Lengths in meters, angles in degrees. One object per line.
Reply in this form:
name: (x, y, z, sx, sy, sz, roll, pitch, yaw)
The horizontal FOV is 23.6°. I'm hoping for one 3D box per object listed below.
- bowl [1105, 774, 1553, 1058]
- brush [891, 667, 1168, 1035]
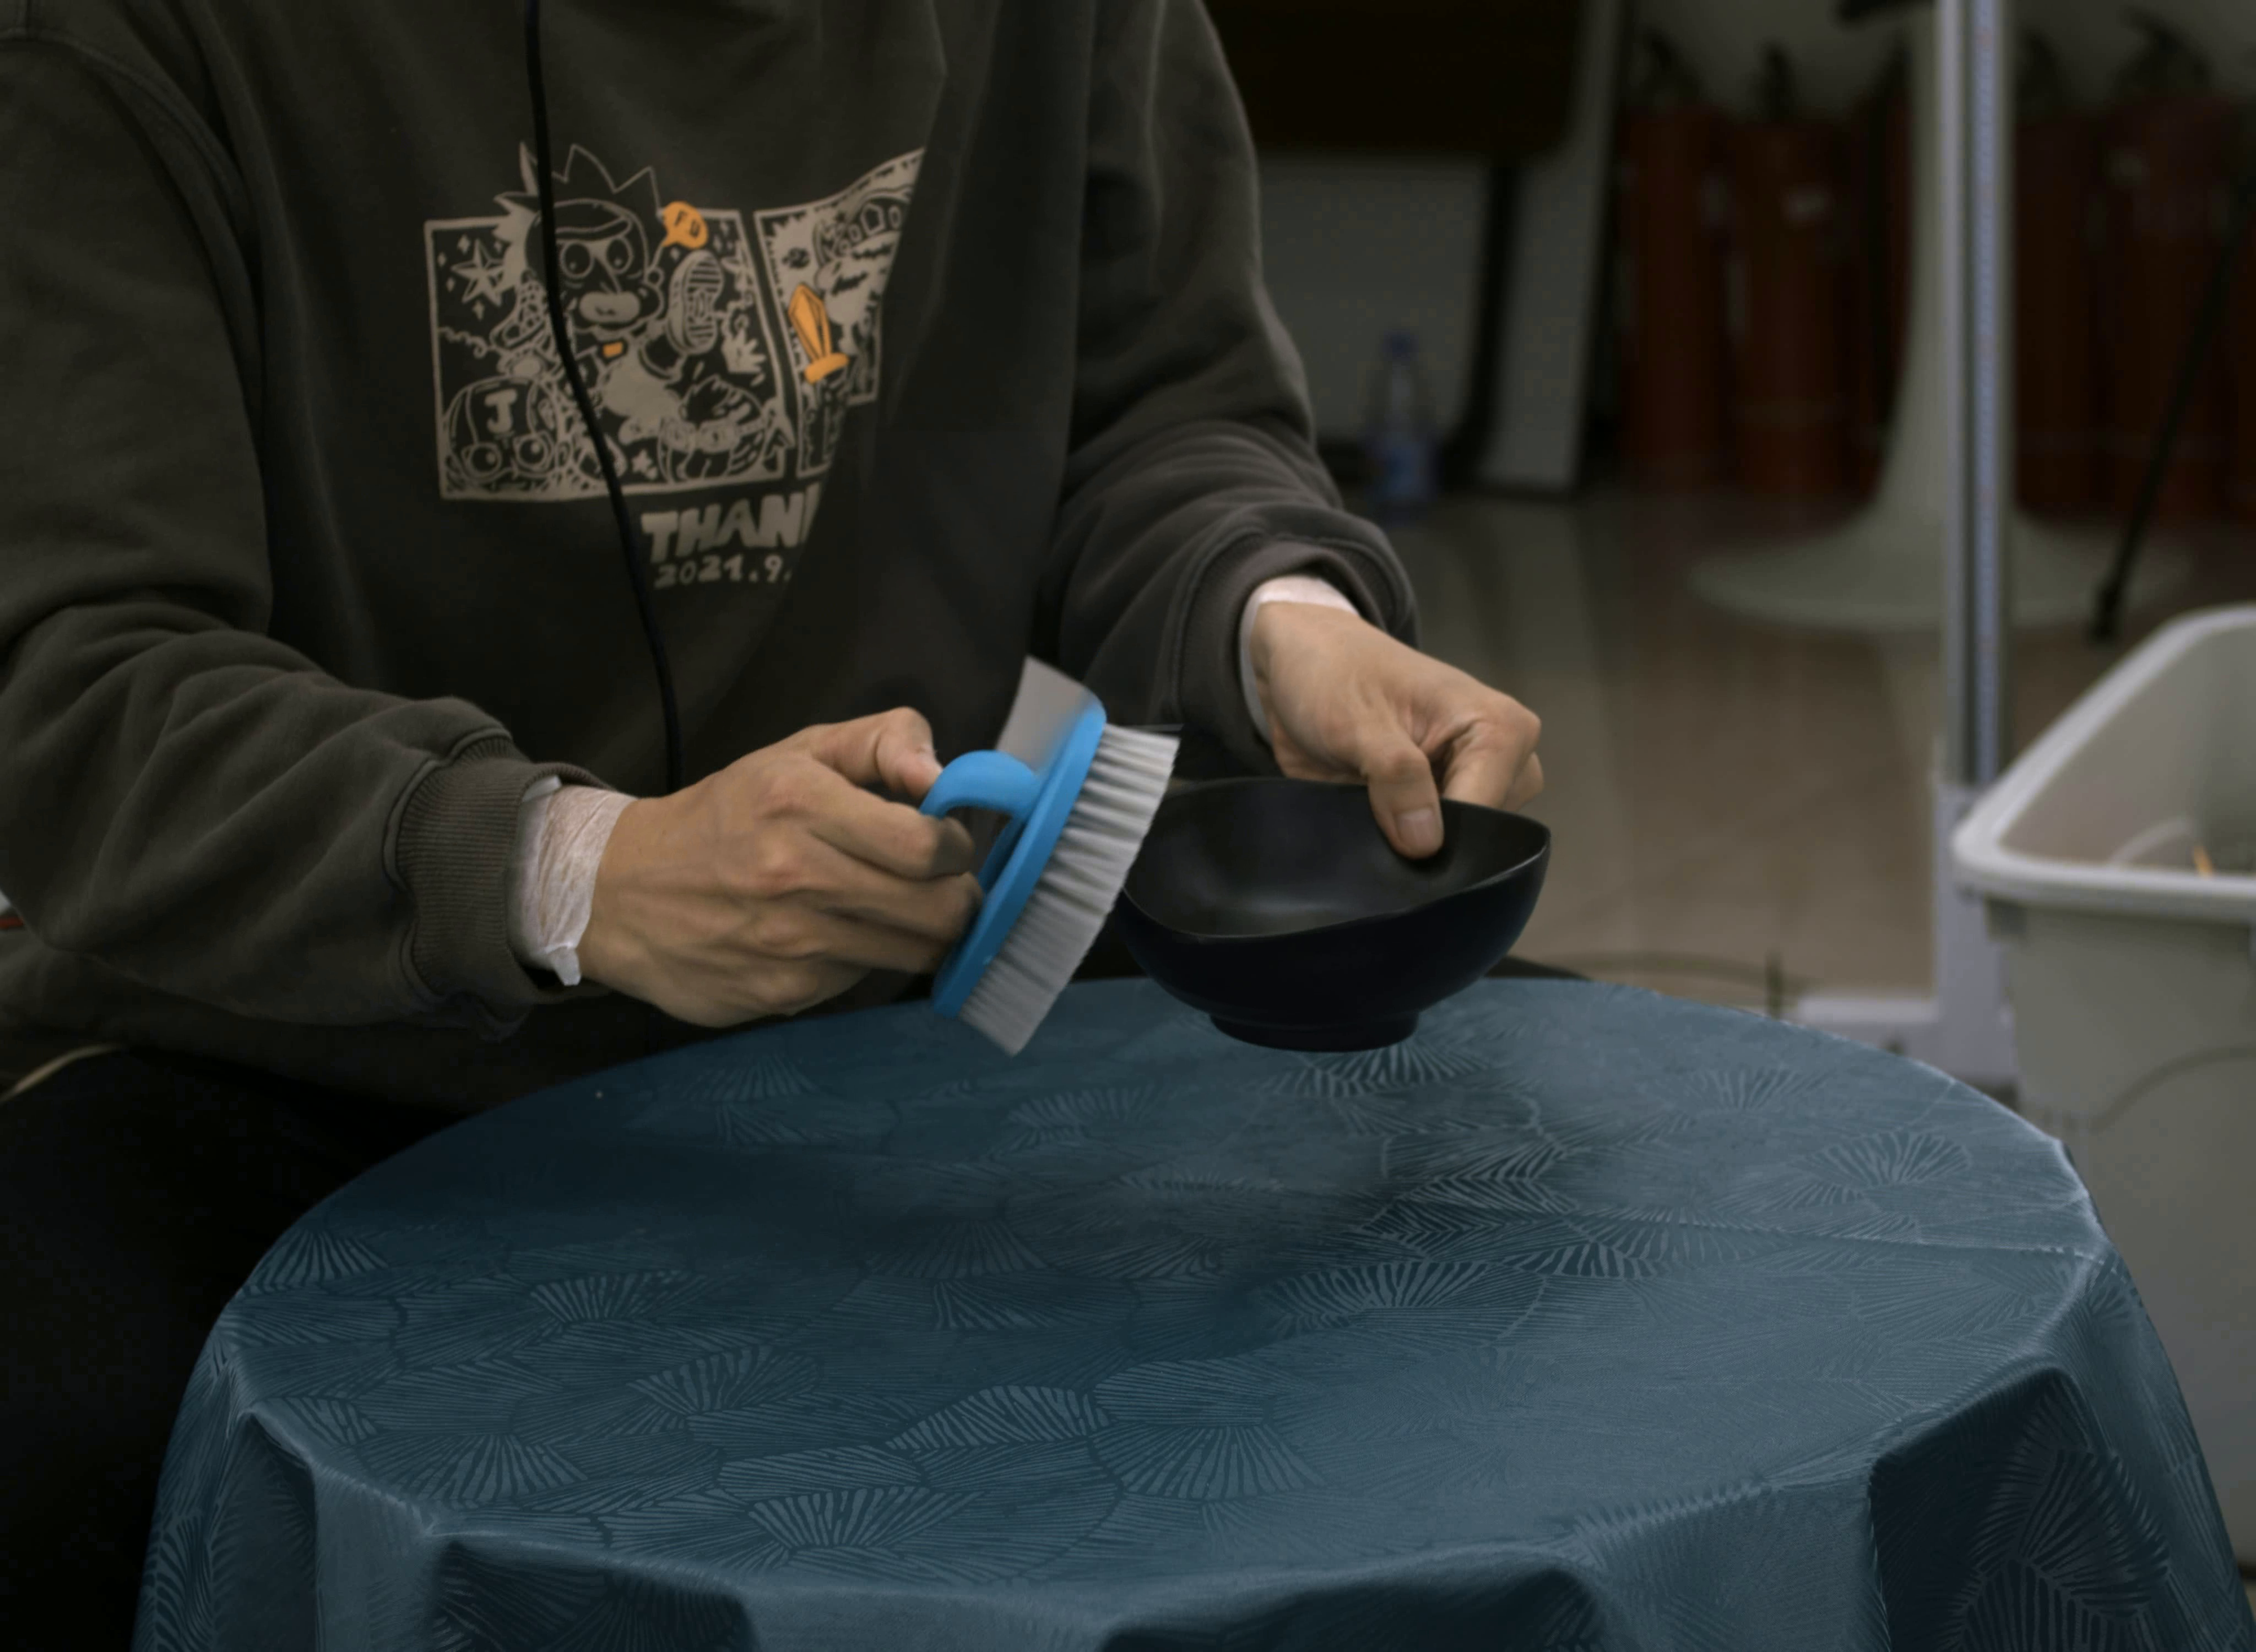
bowl: (0.063, 0.033, 1.720, 0.138, 0.067, 0.167, 9, 17, 29)
brush: (-0.037, 0.006, 1.683, 0.063, 0.085, 0.143, 20, -32, -7)
